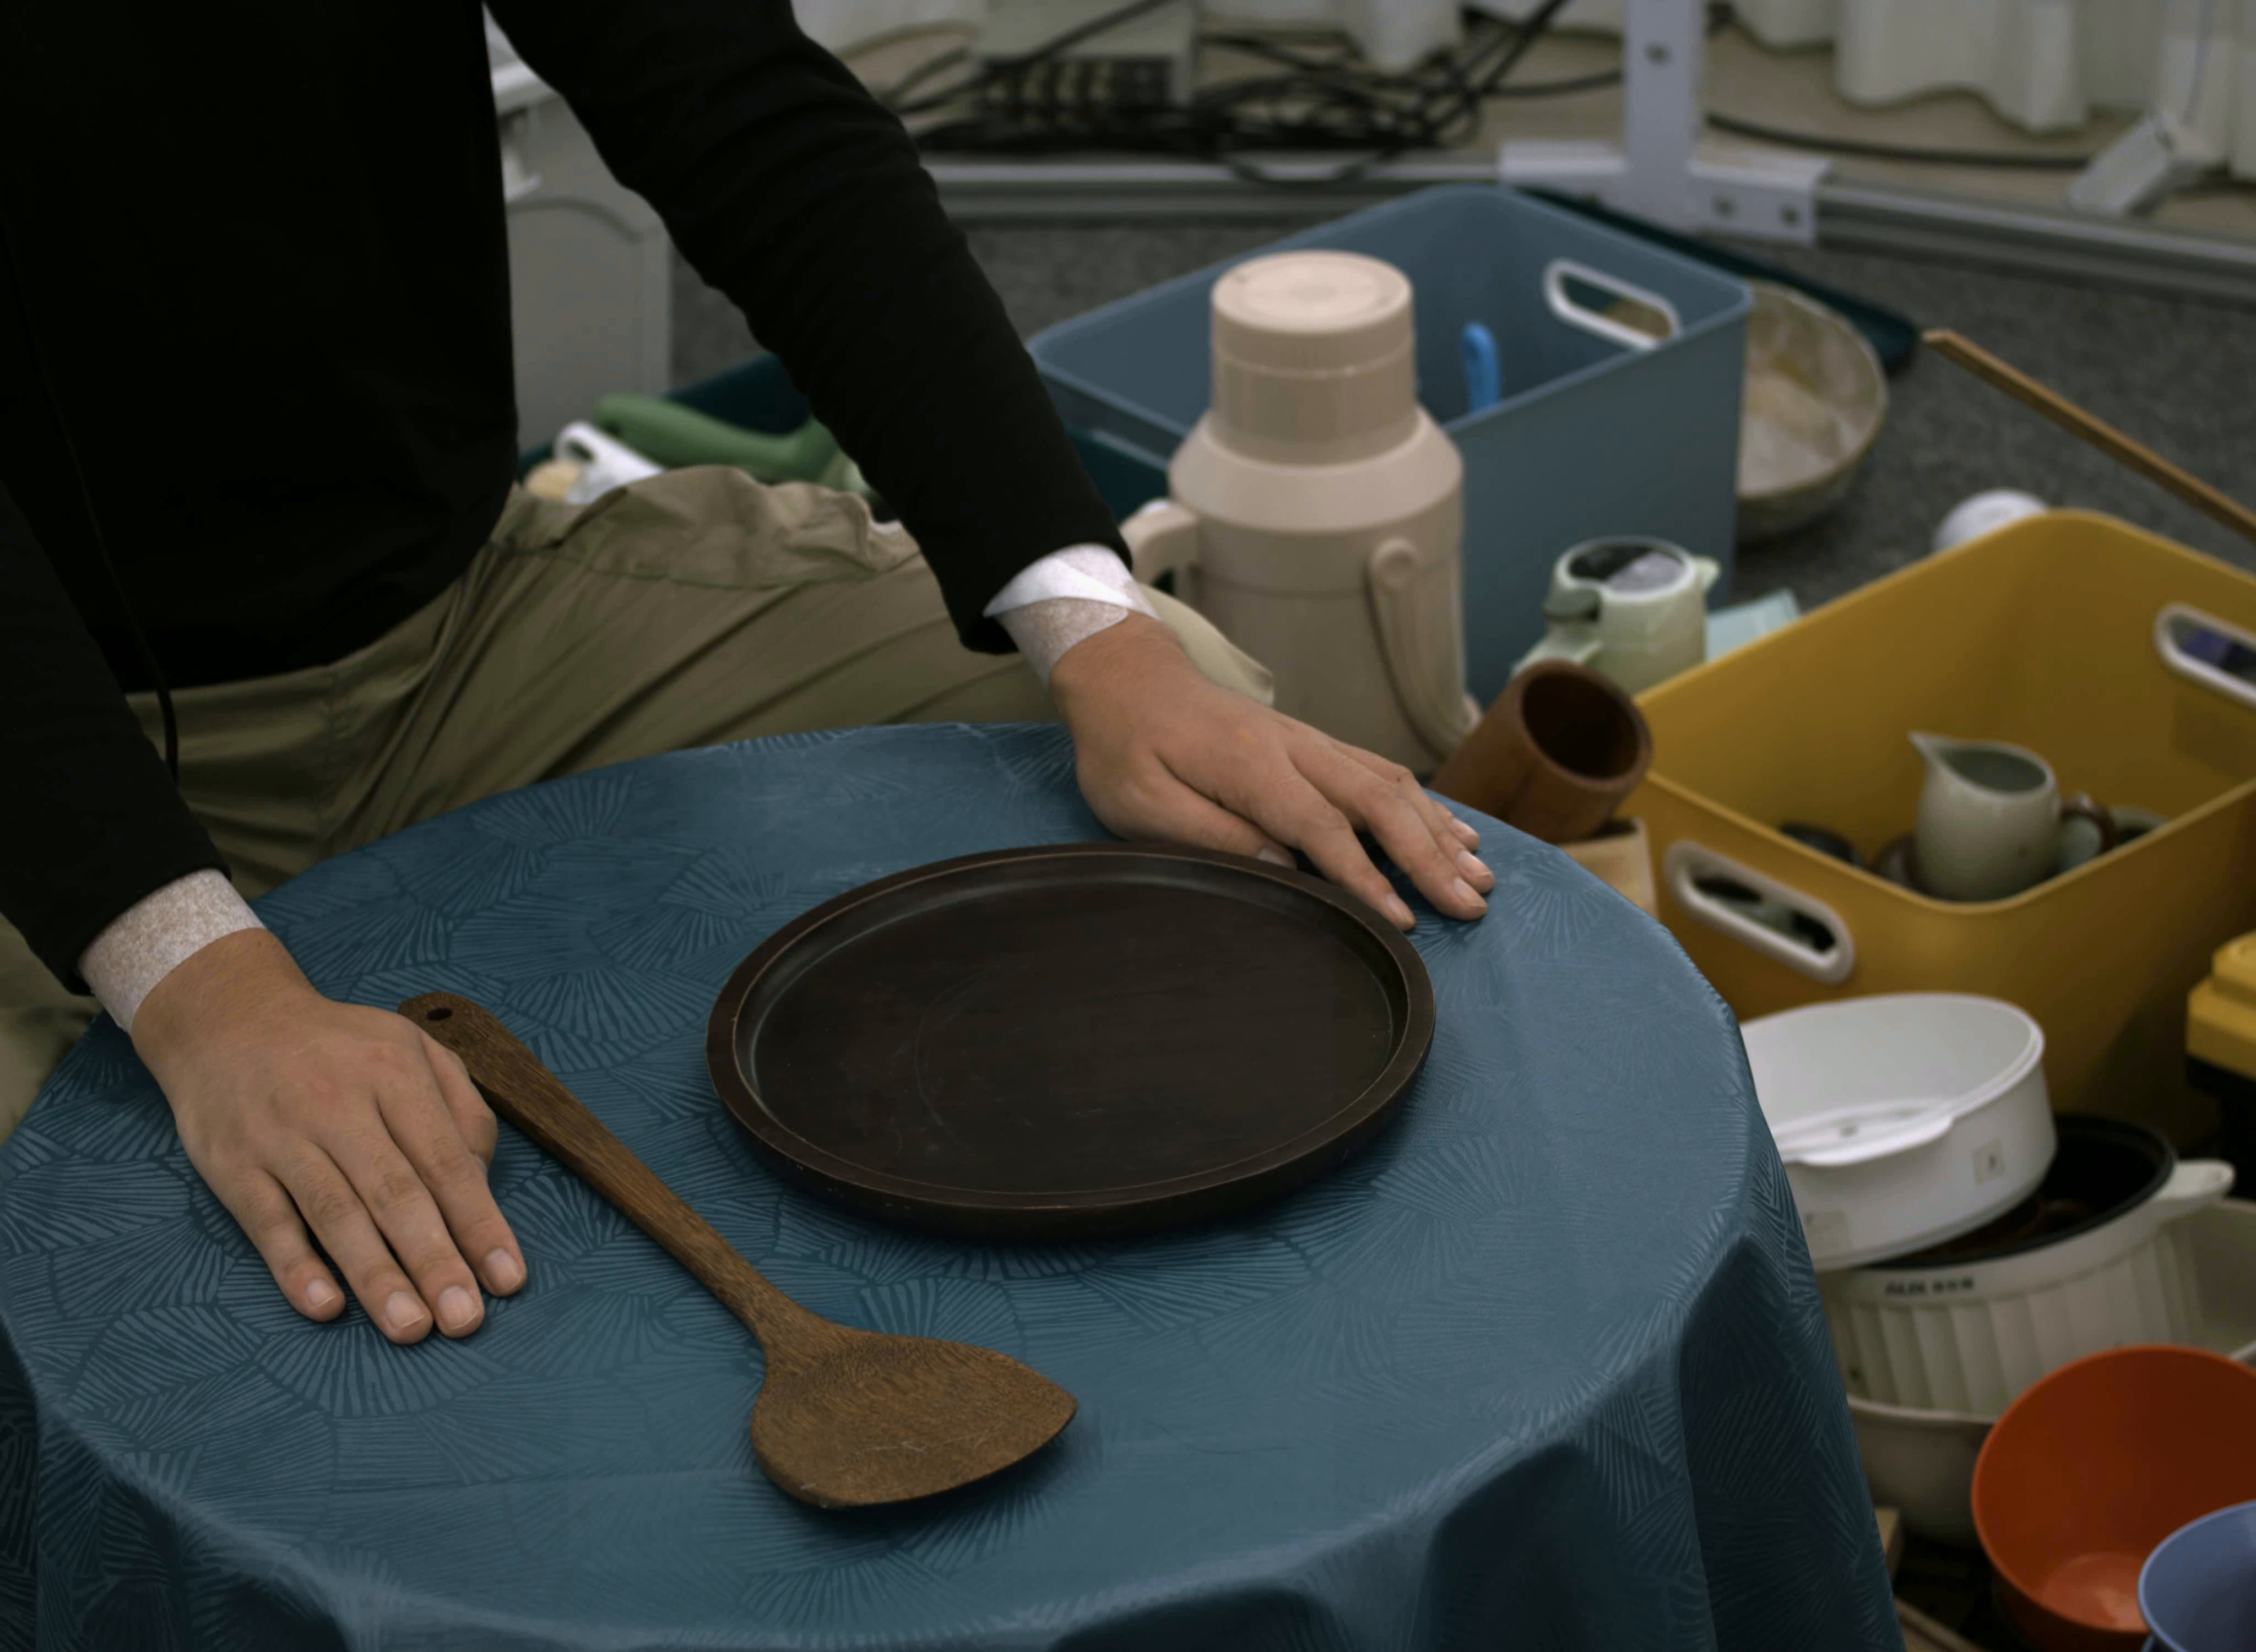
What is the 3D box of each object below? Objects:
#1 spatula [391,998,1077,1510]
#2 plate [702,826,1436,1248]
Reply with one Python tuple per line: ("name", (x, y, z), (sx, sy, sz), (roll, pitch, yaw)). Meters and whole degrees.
("spatula", (-0.150, 0.131, 1.842), (0.097, 0.015, 0.387), (-18, 31, -28))
("plate", (-0.020, 0.074, 1.930), (0.253, 0.029, 0.259), (-3, 28, 2))
